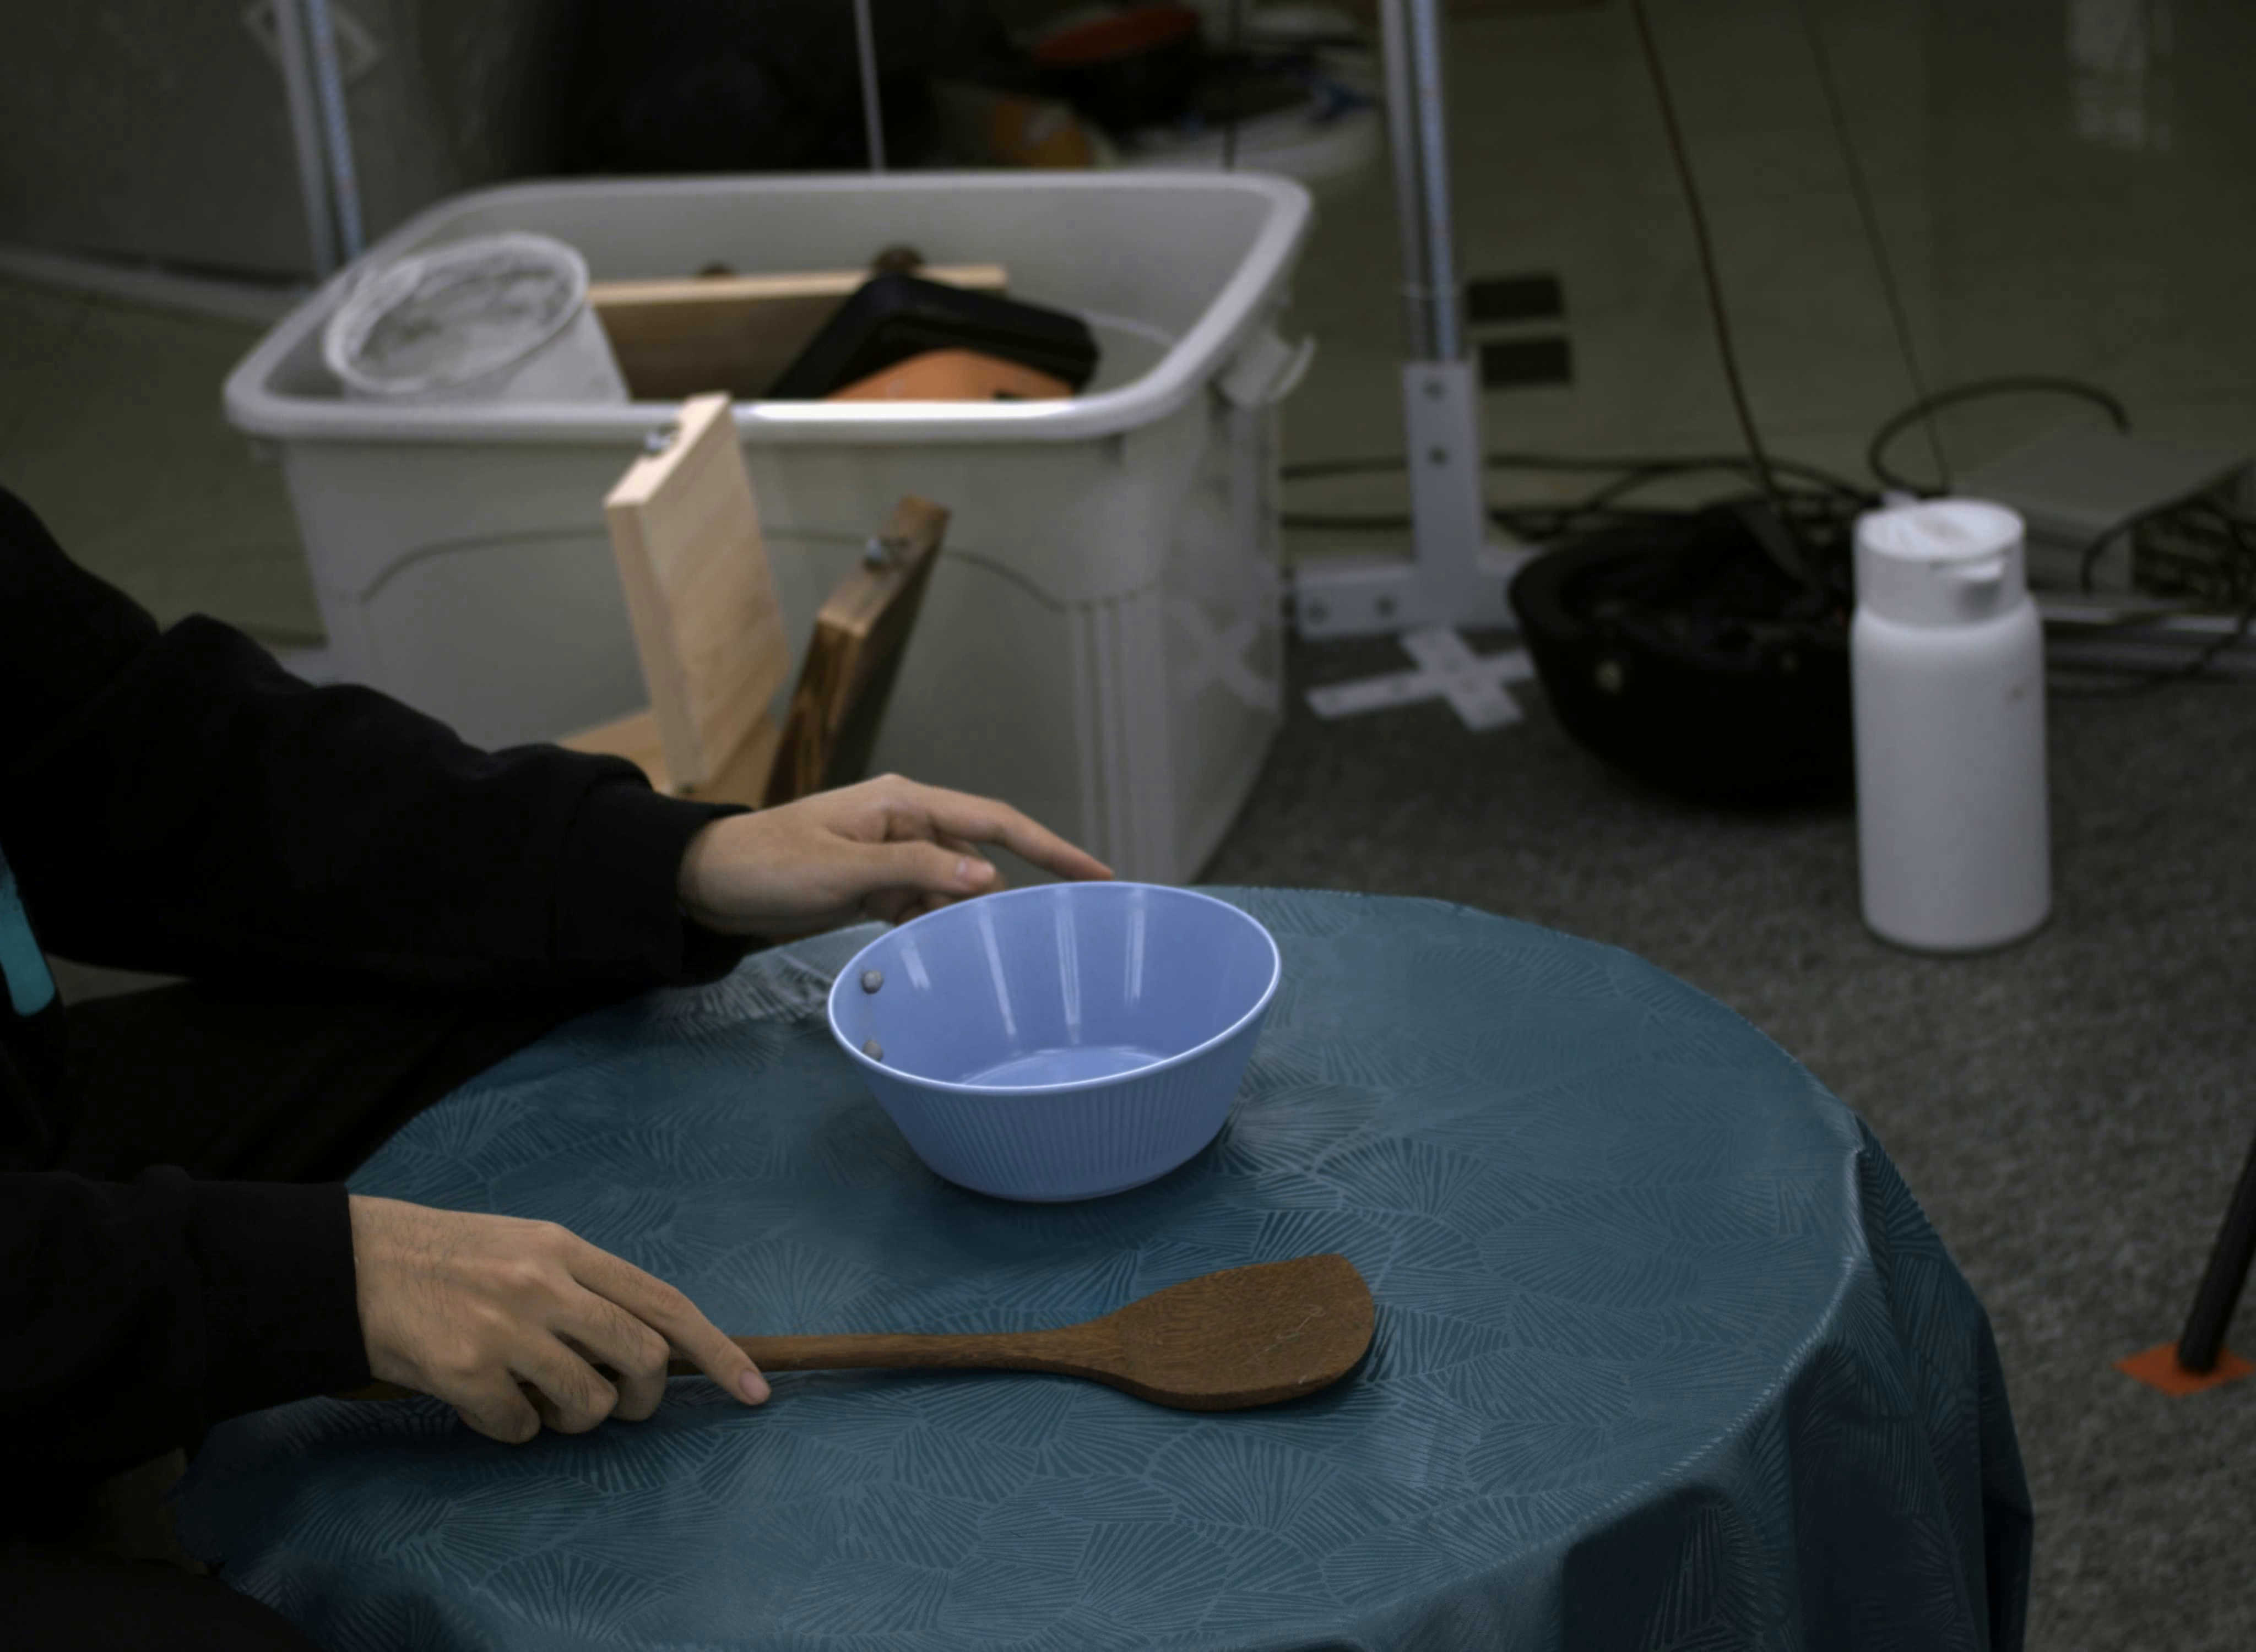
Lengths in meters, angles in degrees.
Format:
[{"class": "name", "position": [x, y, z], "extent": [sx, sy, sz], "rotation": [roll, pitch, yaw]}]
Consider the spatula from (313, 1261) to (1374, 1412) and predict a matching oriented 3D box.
[{"class": "spatula", "position": [-0.104, 0.190, 2.043], "extent": [0.385, 0.016, 0.095], "rotation": [-3, 25, 4]}]

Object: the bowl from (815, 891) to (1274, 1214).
[{"class": "bowl", "position": [-0.030, 0.093, 2.173], "extent": [0.176, 0.071, 0.173], "rotation": [-3, 26, 1]}]
